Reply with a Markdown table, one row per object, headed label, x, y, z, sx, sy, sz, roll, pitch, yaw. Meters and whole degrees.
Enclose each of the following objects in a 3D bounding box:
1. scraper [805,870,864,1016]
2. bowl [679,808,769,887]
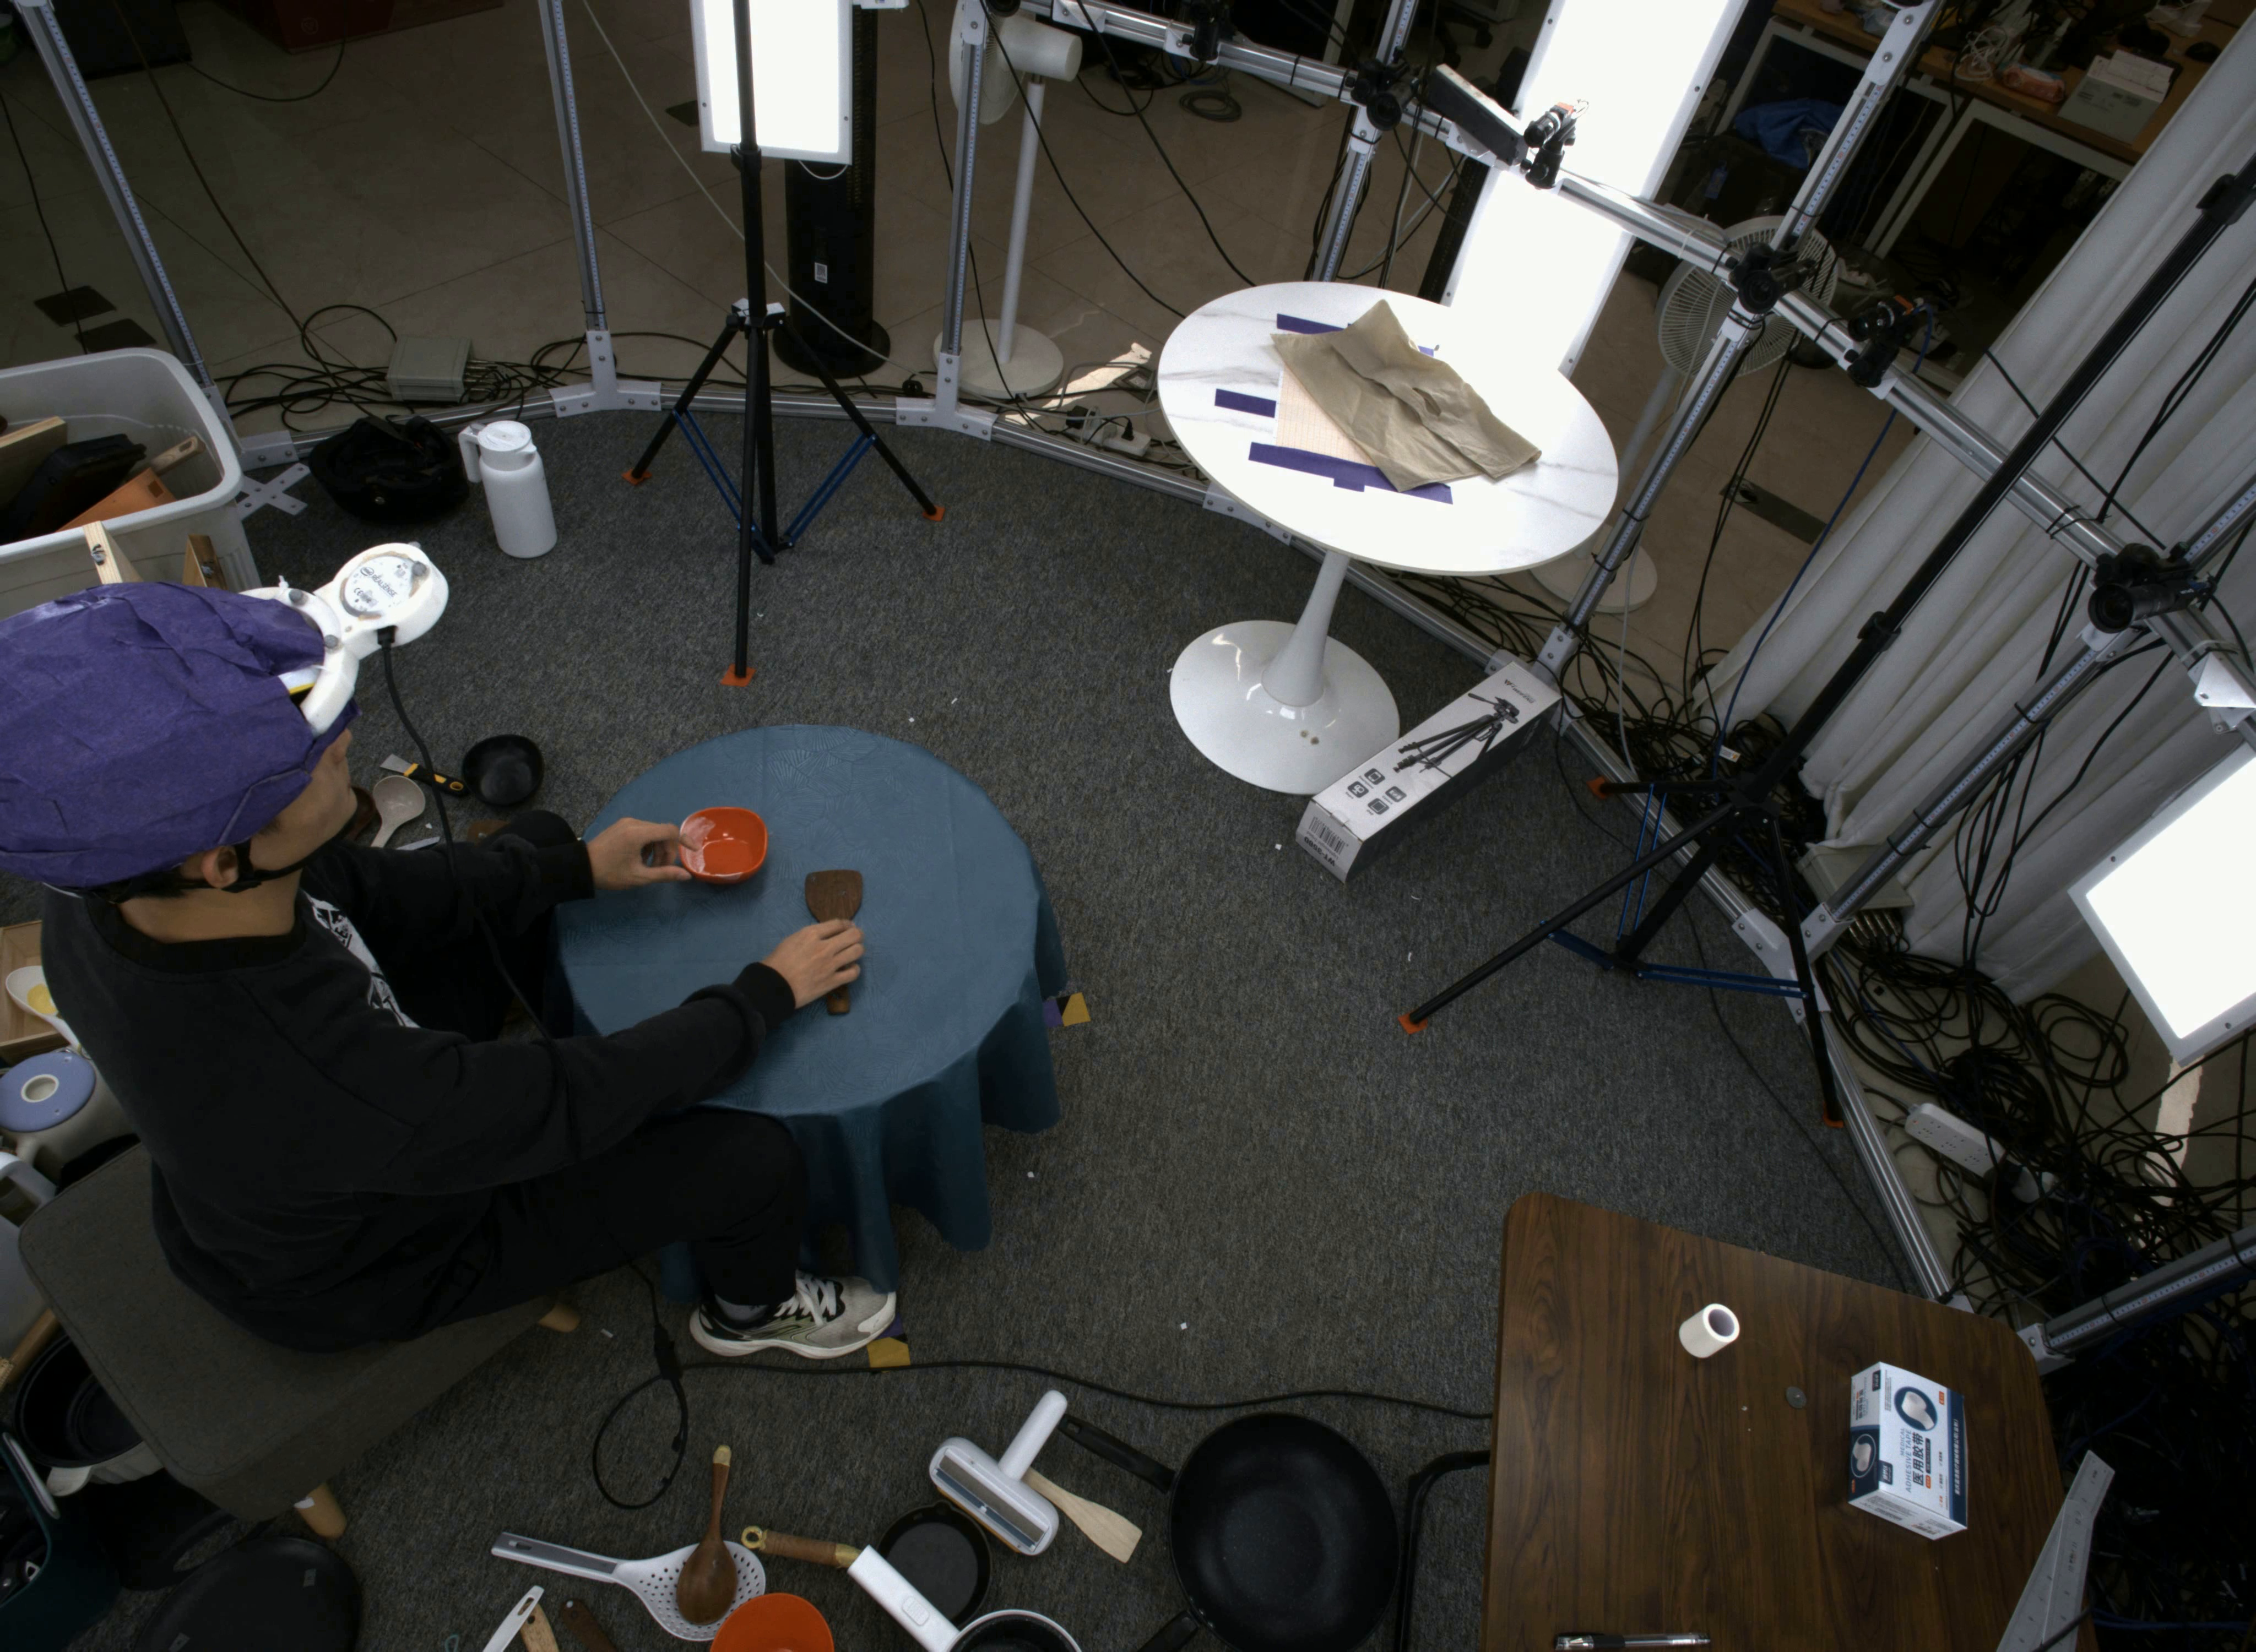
| label | x | y | z | sx | sy | sz | roll | pitch | yaw |
| --- | --- | --- | --- | --- | --- | --- | --- | --- | --- |
| scraper | -0.366 | 0.143 | 1.632 | 0.076 | 0.011 | 0.207 | -2 | 55 | -14 |
| bowl | -0.515 | 0.034 | 1.650 | 0.119 | 0.052 | 0.117 | 8 | 52 | -9 |
